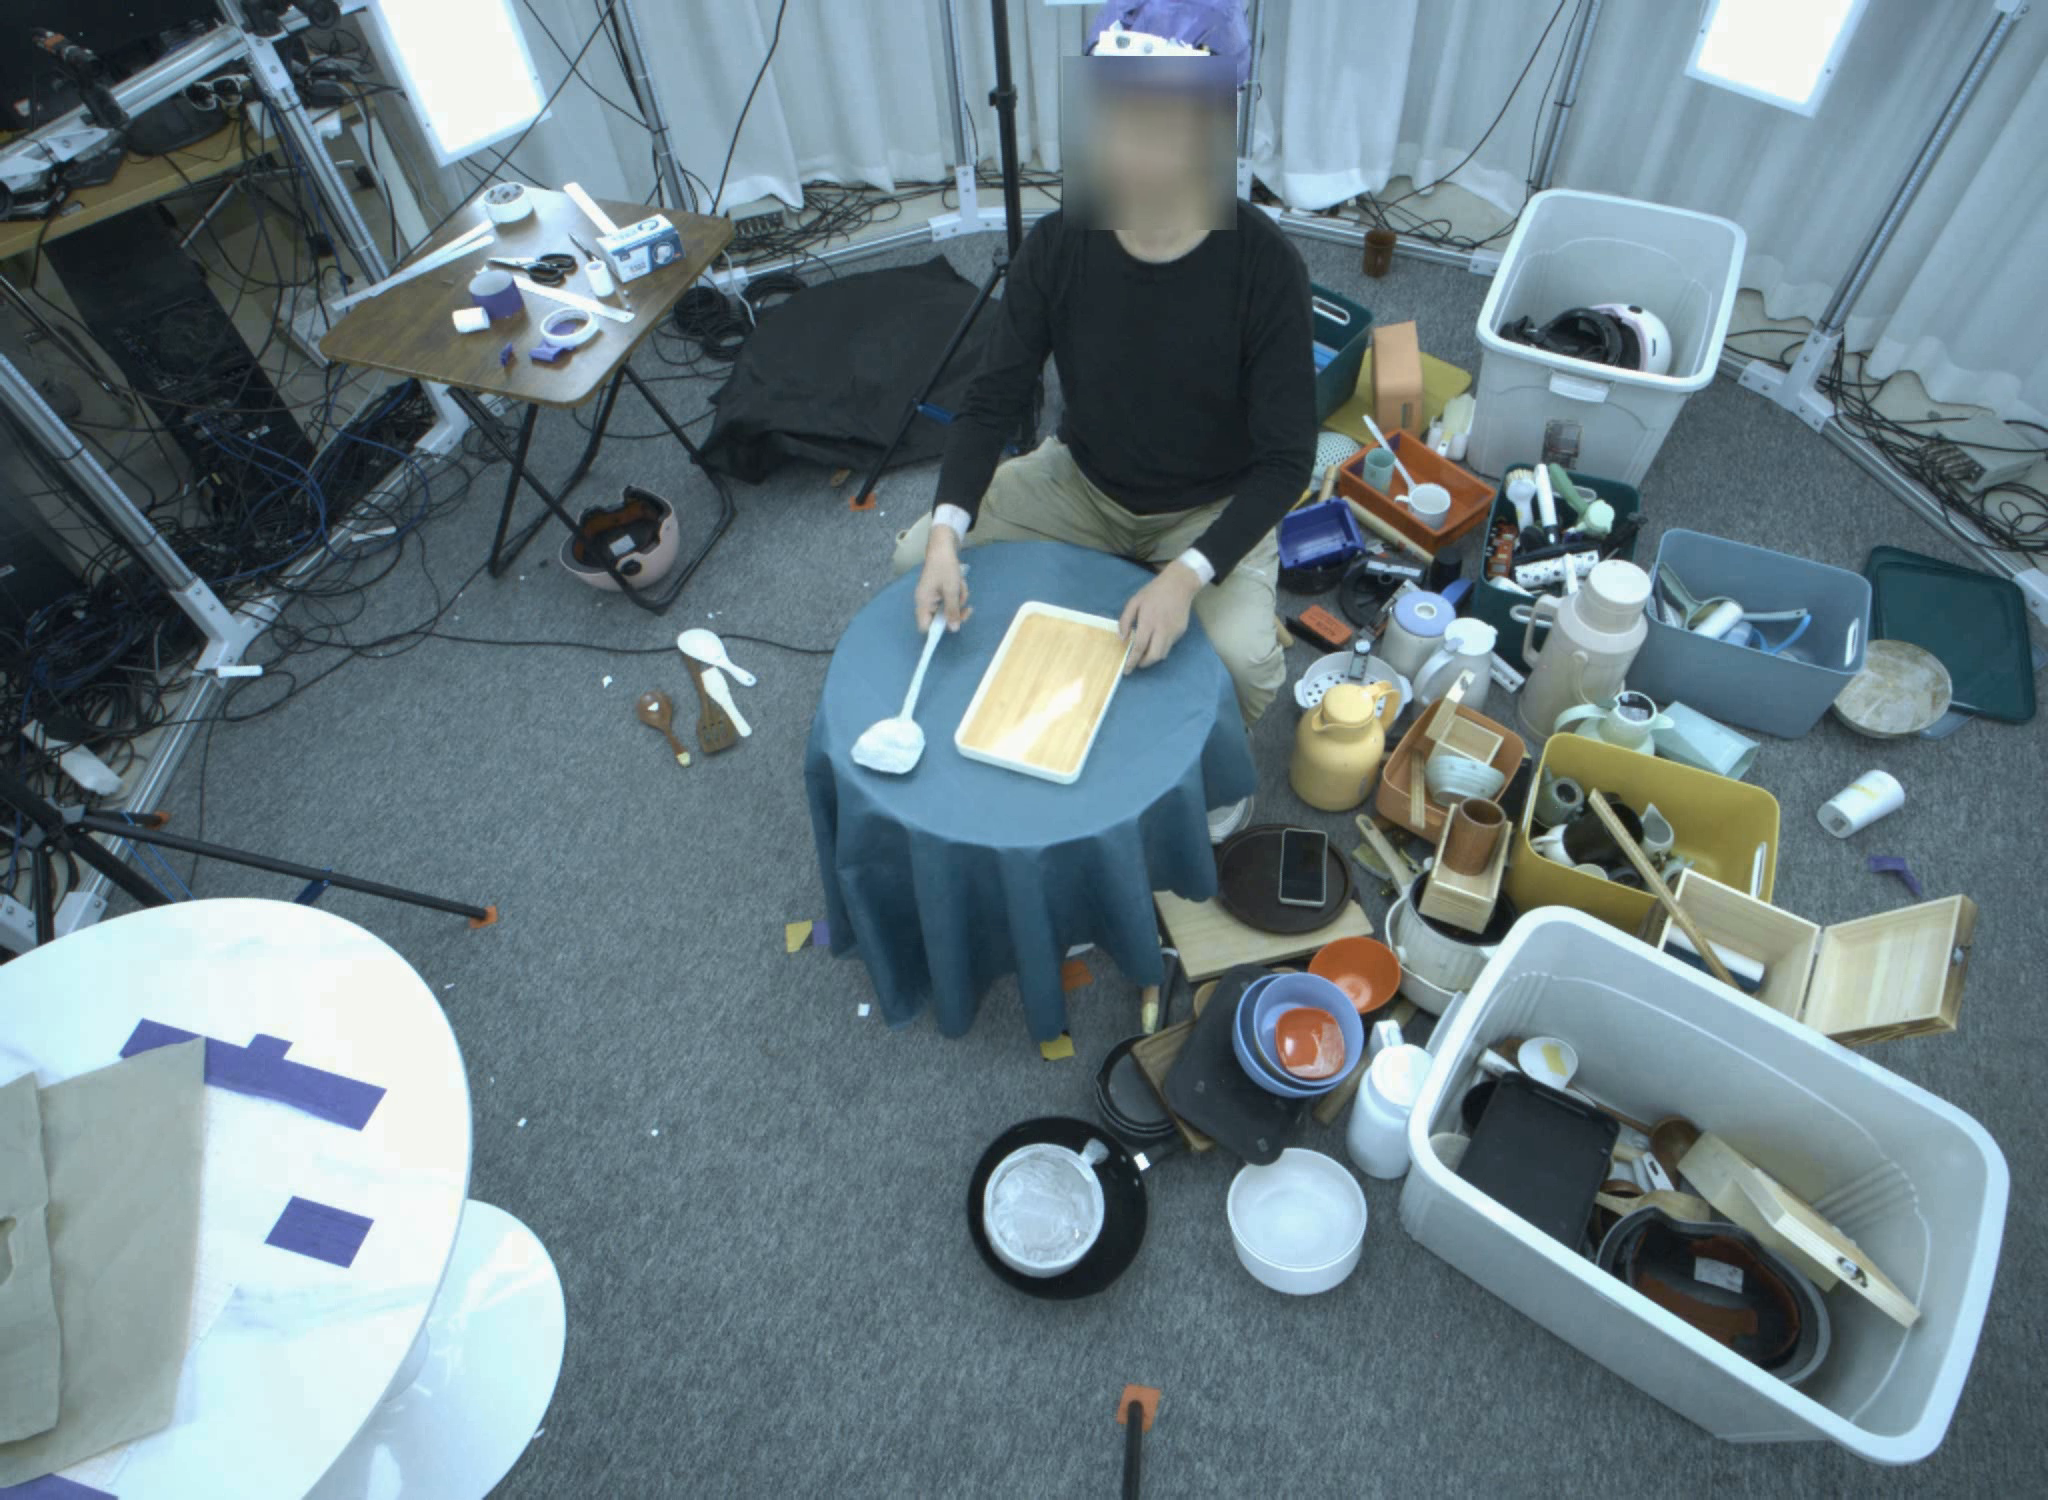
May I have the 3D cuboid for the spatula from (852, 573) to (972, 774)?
[{"bbox_3d":[-0.150,-0.125,1.827,0.098,0.045,0.364,14,71,13],"label":"spatula"}]

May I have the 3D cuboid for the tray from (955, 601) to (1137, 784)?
[{"bbox_3d":[0.037,-0.092,1.835,0.189,0.028,0.300,16,57,13],"label":"tray"}]
